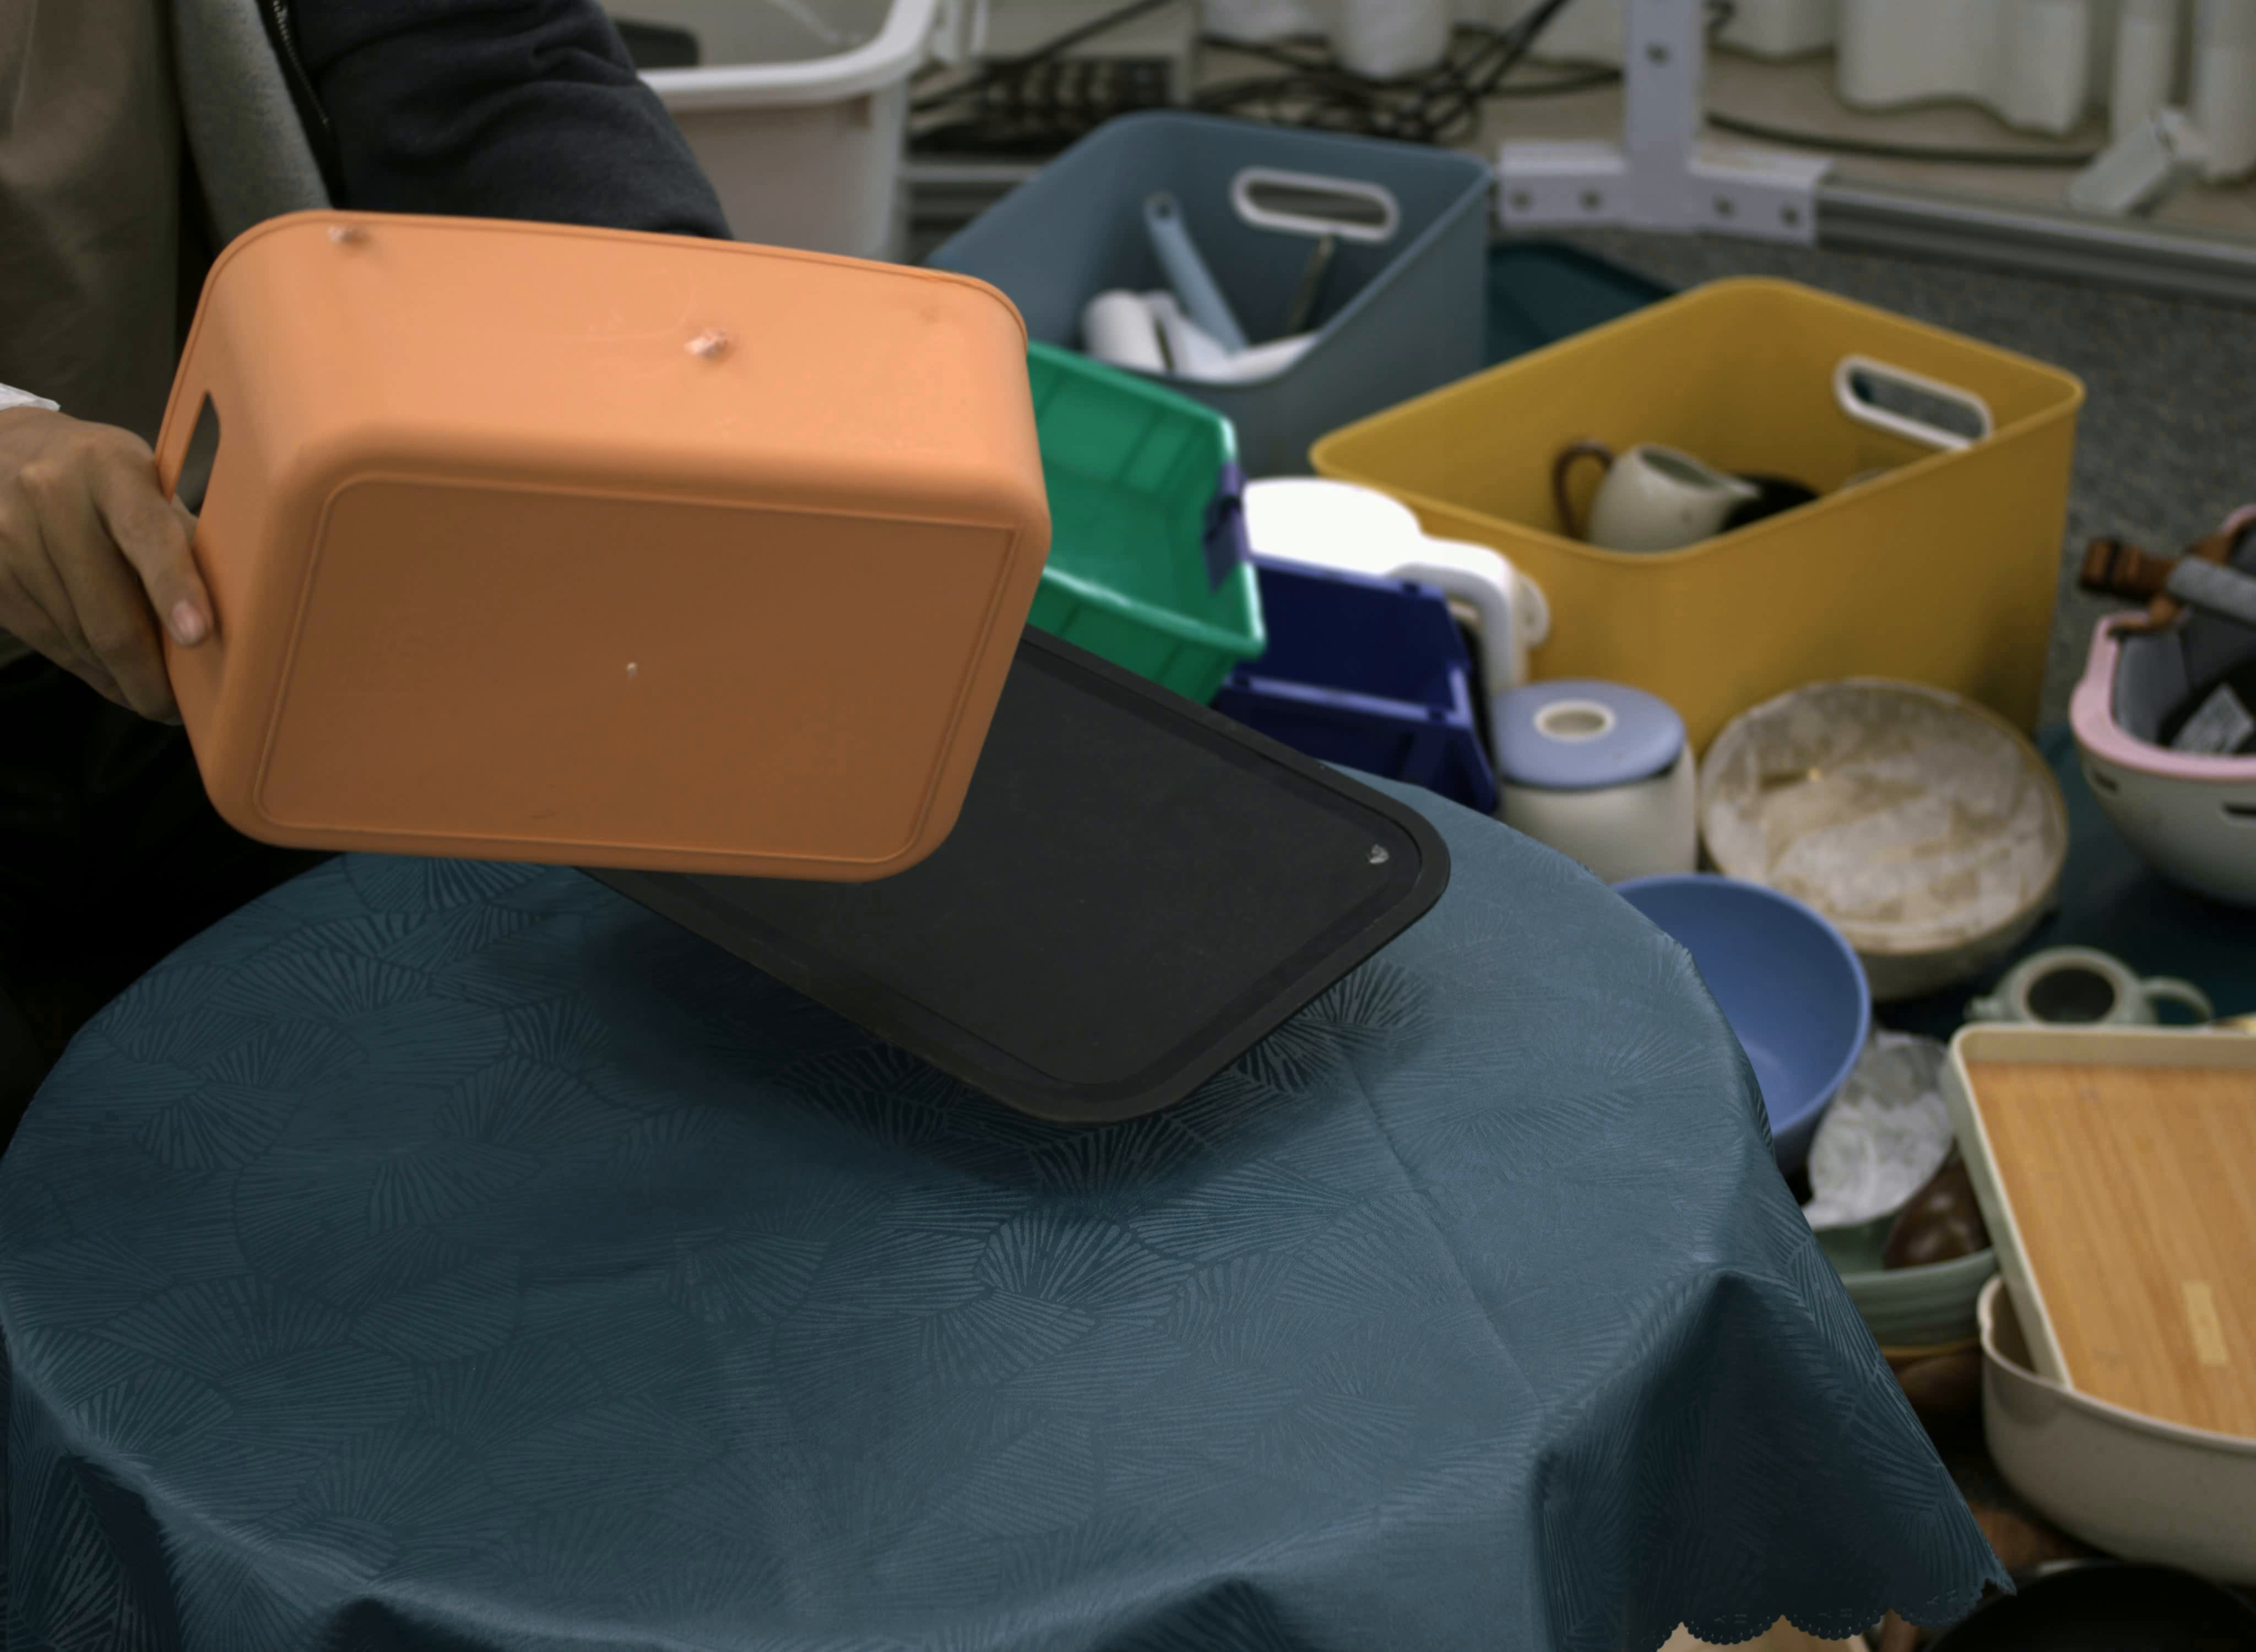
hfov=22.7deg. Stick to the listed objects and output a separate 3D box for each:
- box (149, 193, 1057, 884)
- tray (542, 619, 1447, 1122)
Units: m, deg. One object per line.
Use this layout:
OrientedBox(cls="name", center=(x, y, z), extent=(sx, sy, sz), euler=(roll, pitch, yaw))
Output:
OrientedBox(cls="box", center=(-0.163, -0.081, 1.779), extent=(0.273, 0.196, 0.104), euler=(5, 39, -21))
OrientedBox(cls="tray", center=(-0.061, -0.001, 1.978), extent=(0.325, 0.009, 0.214), euler=(27, 45, 33))
